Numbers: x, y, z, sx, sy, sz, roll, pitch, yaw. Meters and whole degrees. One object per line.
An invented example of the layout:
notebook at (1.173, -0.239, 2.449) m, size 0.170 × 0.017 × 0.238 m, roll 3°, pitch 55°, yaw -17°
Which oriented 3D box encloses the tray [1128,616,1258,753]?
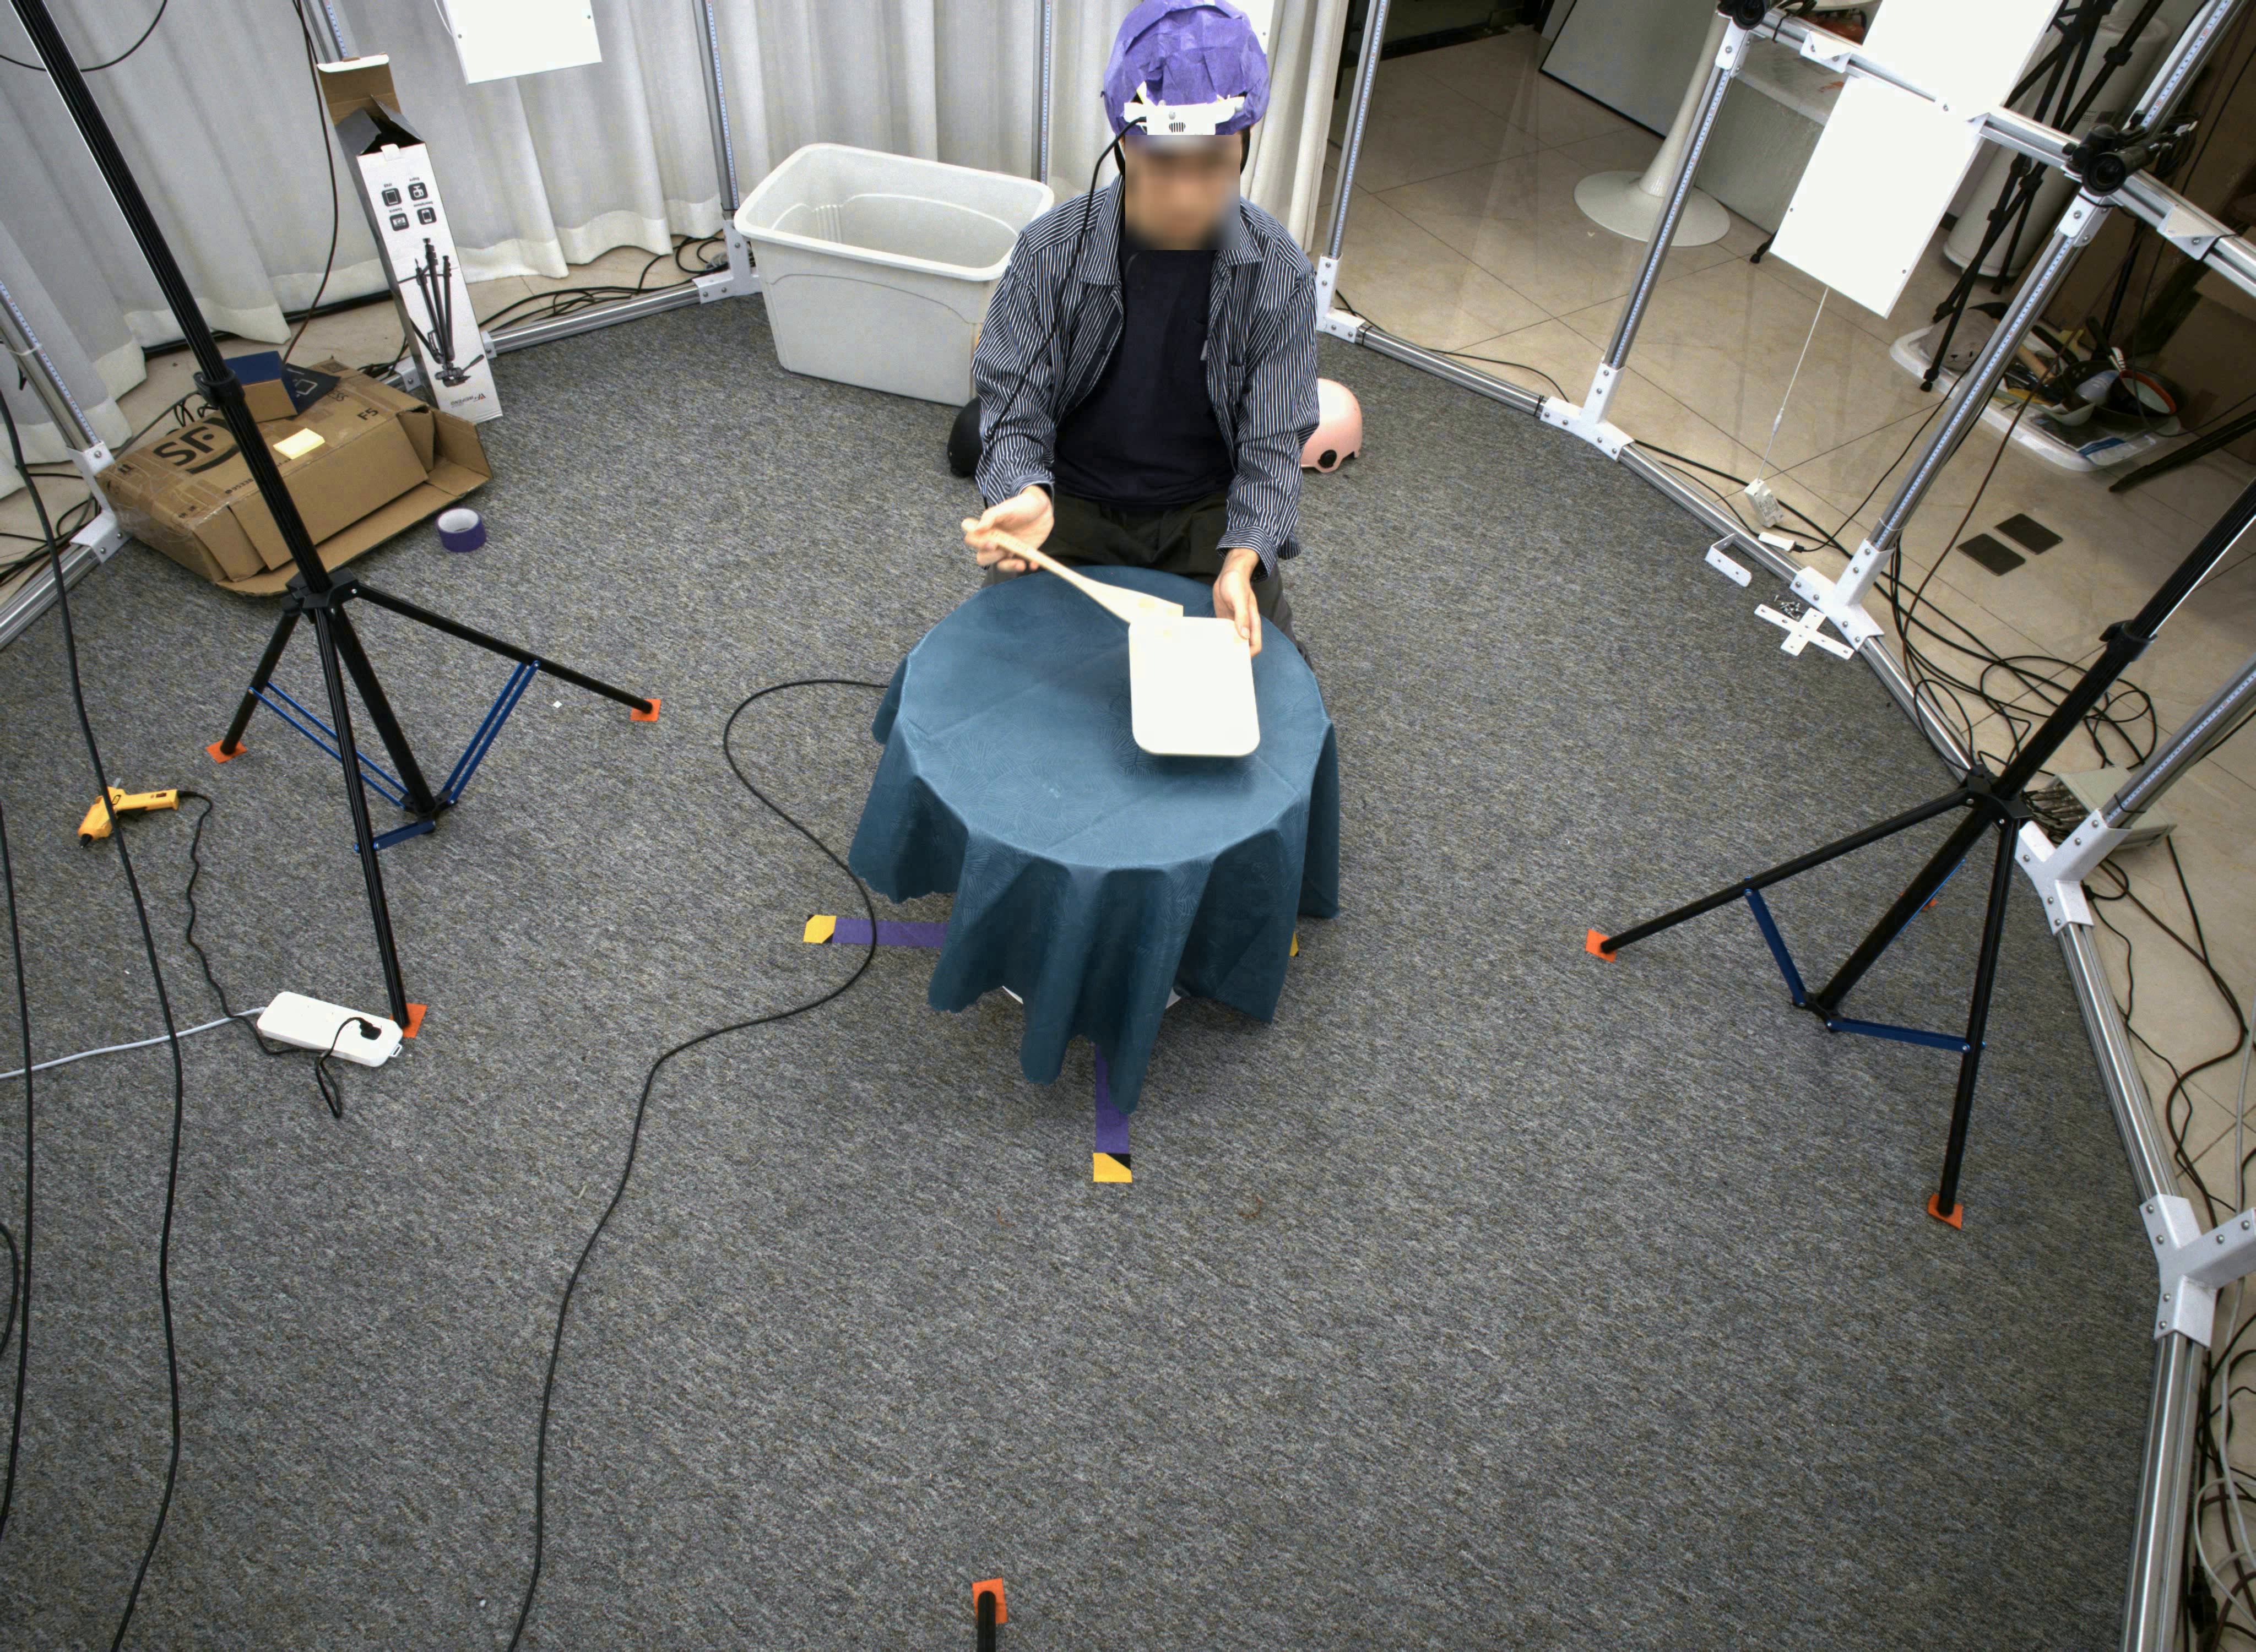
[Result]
tray at (0.086, -0.195, 1.757) m, size 0.171 × 0.017 × 0.245 m, roll 3°, pitch 54°, yaw -6°

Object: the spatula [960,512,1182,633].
spatula at (-0.073, -0.343, 1.716) m, size 0.327 × 0.016 × 0.081 m, roll 27°, pitch 39°, yaw -1°
